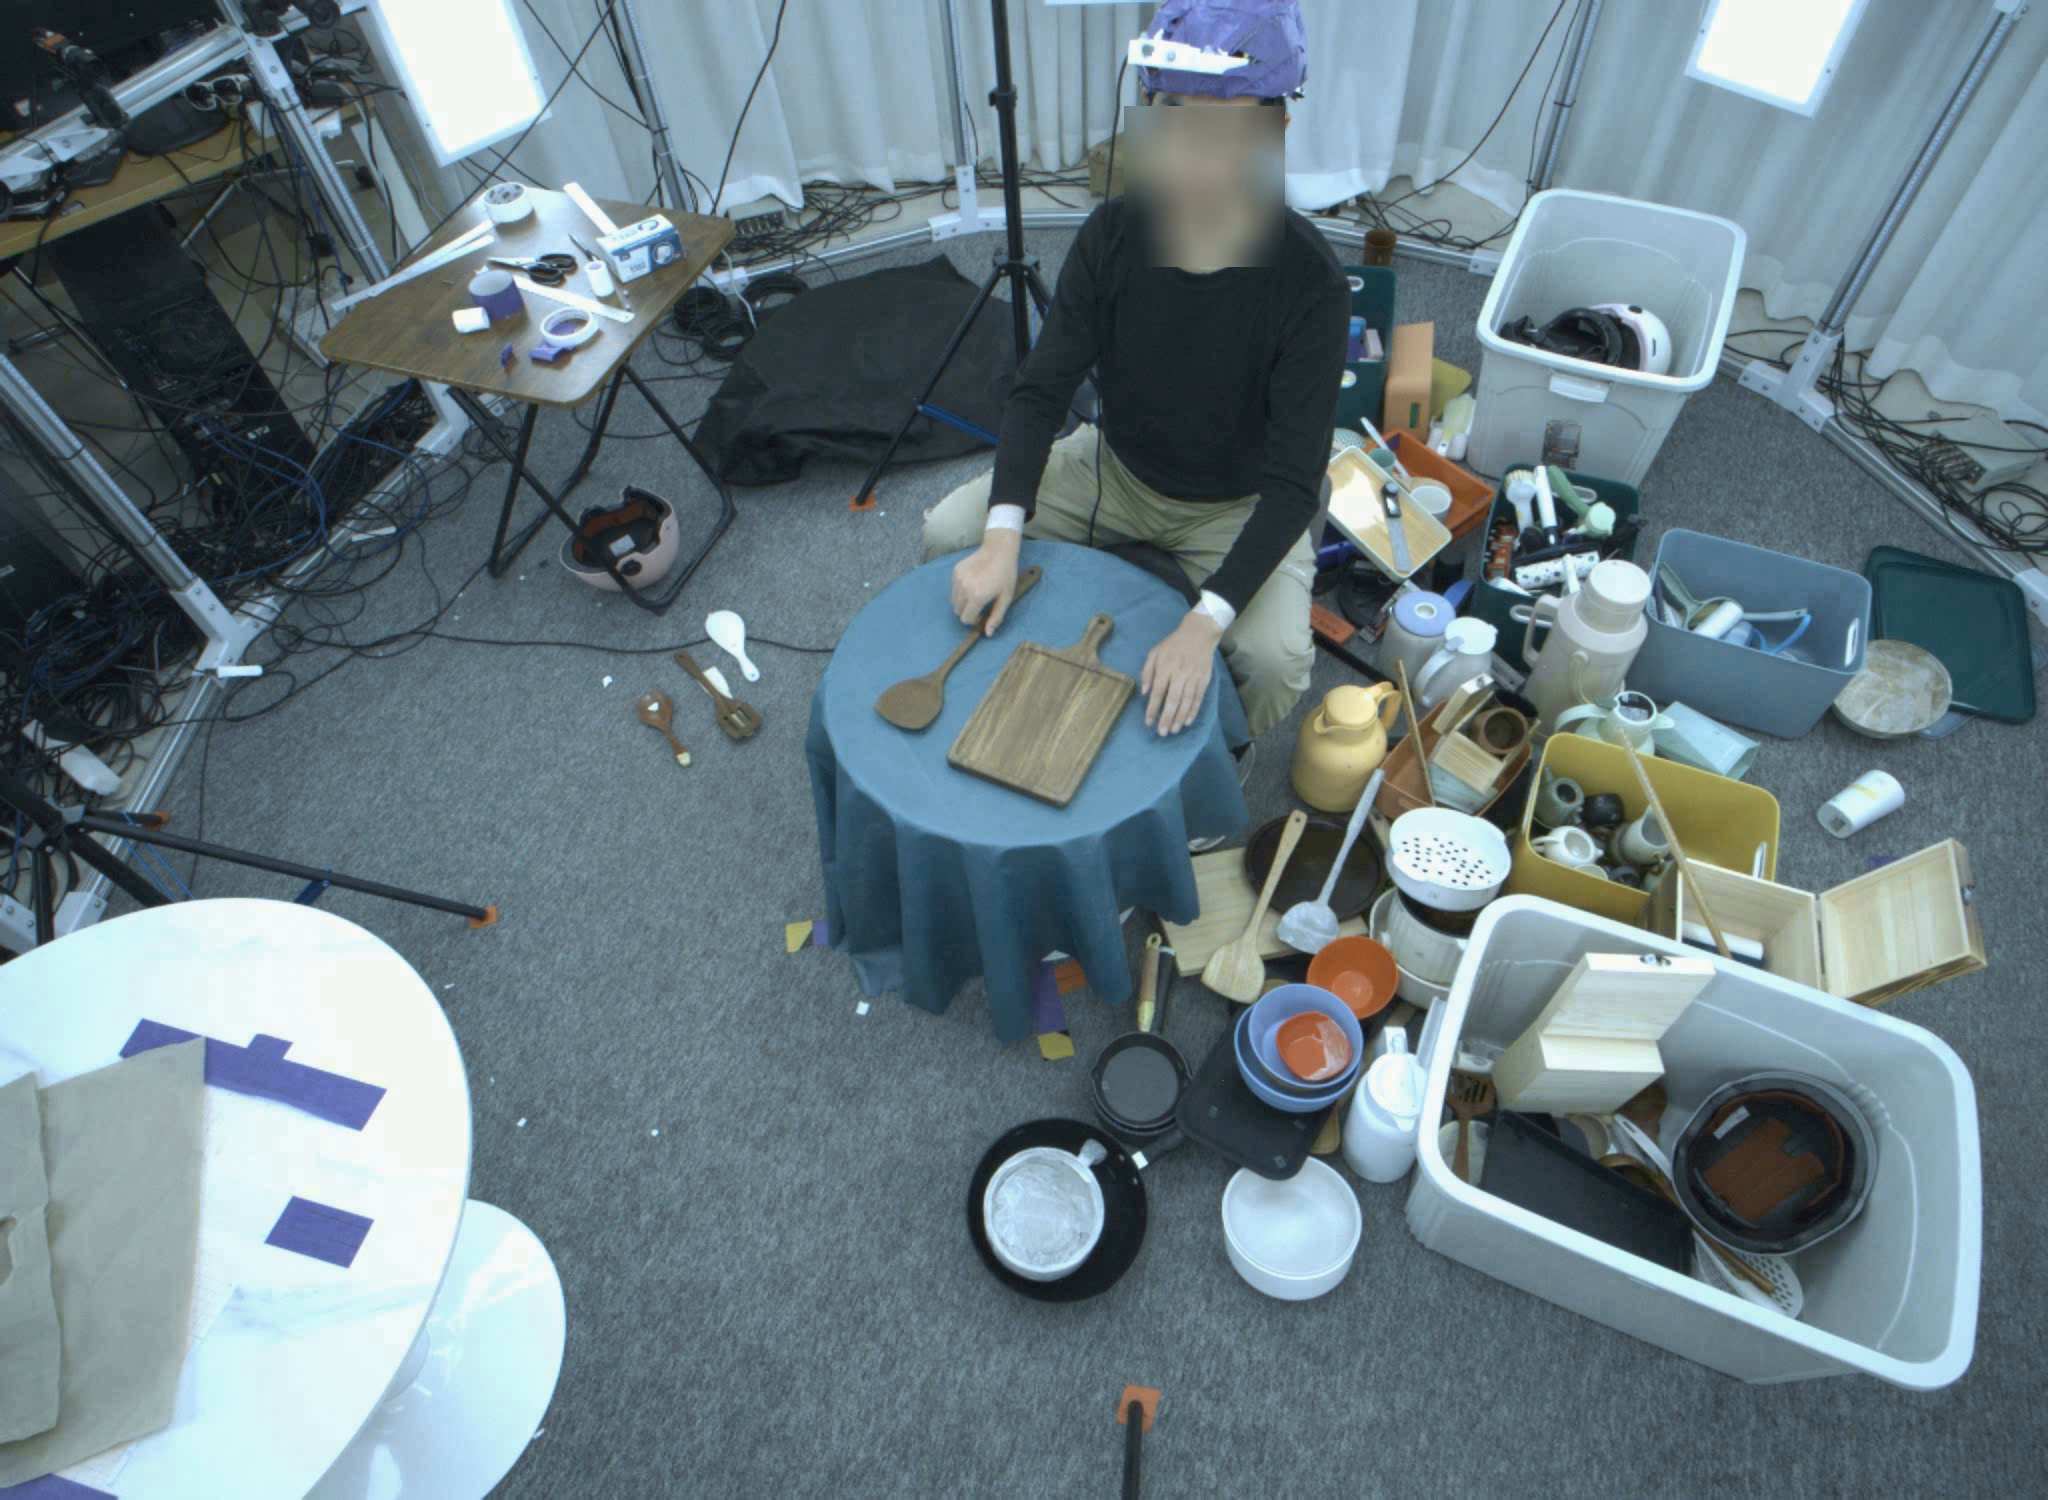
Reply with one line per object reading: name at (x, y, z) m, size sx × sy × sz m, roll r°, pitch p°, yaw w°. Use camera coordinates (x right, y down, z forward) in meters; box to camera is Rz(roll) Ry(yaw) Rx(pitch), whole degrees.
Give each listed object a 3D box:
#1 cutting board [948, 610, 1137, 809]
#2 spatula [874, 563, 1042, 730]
cutting board at (0.051, -0.080, 1.830) m, size 0.198 × 0.023 × 0.352 m, roll 21°, pitch 58°, yaw 16°
spatula at (-0.086, -0.171, 1.902) m, size 0.094 × 0.016 × 0.387 m, roll 28°, pitch 60°, yaw 20°
